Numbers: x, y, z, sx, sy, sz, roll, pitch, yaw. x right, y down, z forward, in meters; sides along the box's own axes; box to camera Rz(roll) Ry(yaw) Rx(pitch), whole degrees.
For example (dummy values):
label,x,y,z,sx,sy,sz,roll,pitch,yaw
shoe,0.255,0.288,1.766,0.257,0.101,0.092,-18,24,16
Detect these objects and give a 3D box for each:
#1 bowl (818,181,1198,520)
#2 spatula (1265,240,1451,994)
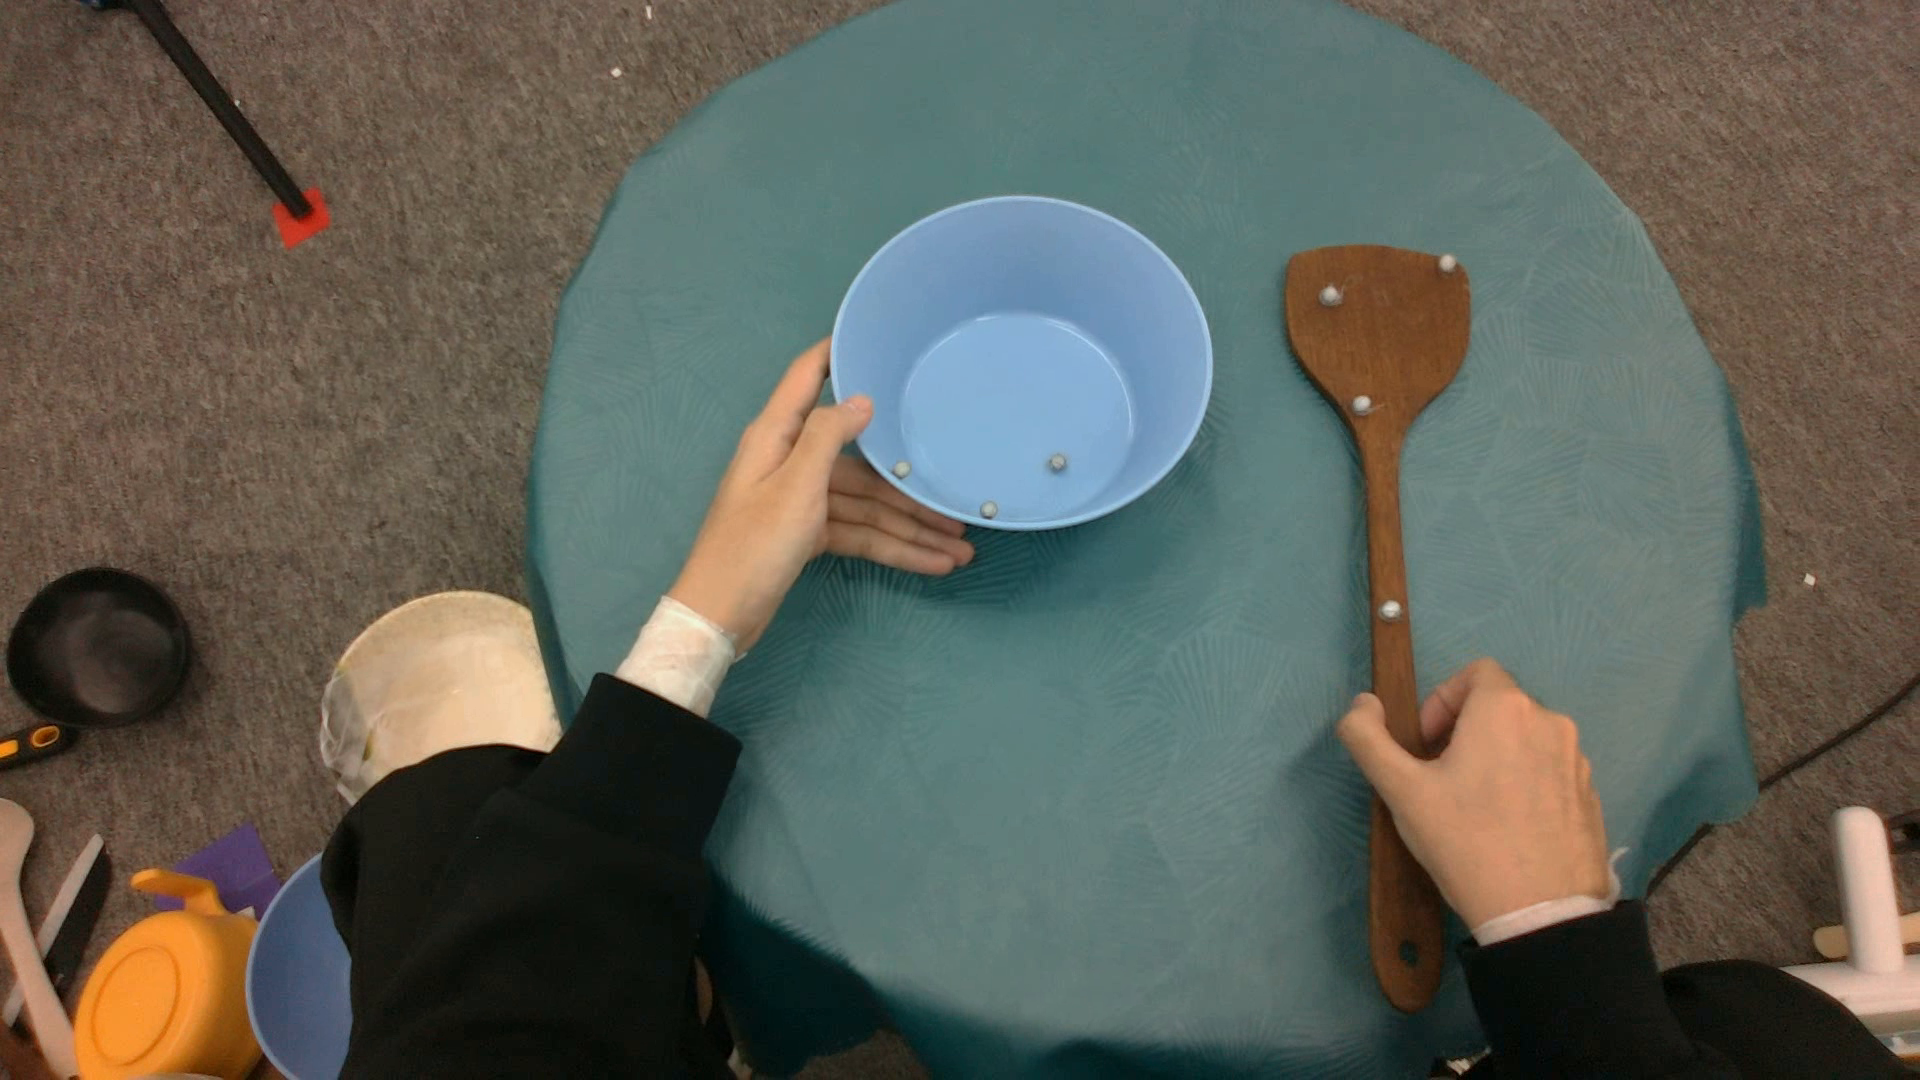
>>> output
label,x,y,z,sx,sy,sz,roll,pitch,yaw
bowl,0.022,-0.080,0.664,0.176,0.070,0.176,0,69,0
spatula,0.193,0.012,0.645,0.096,0.016,0.387,5,62,2
